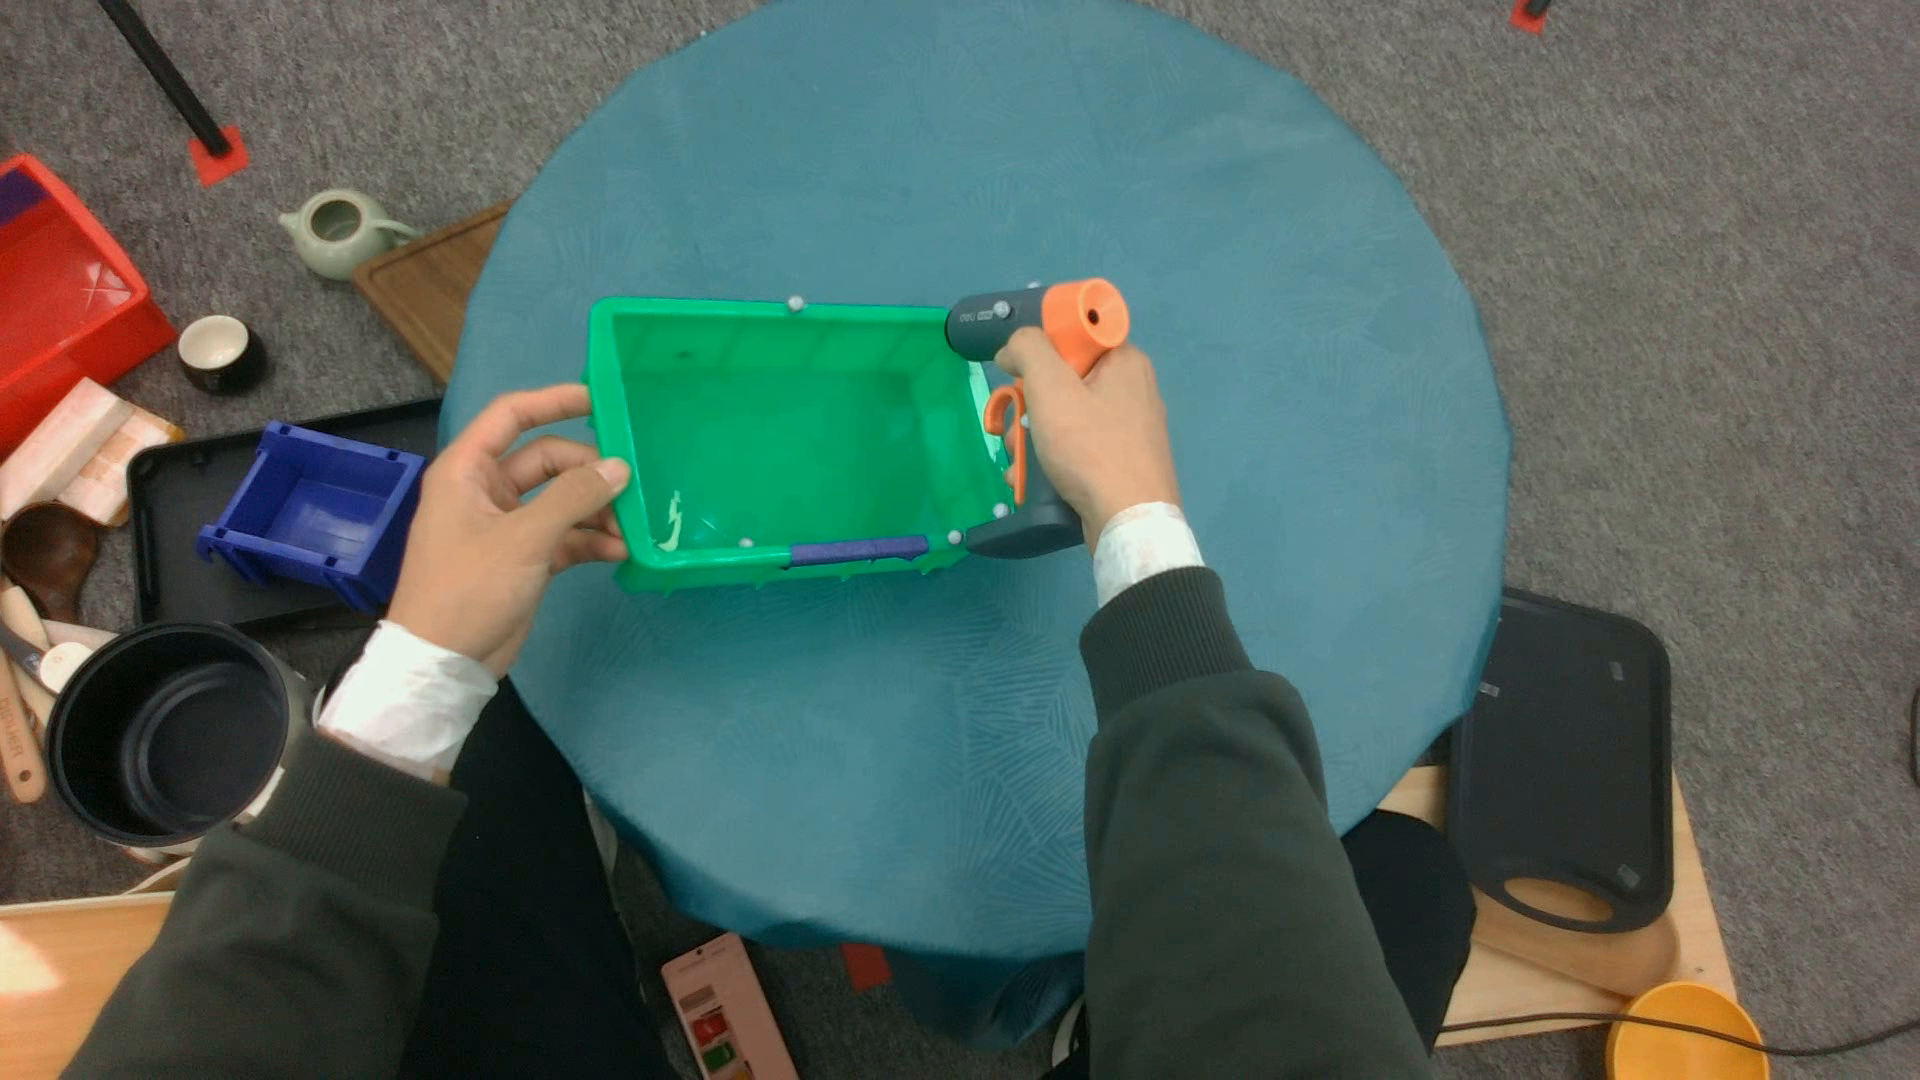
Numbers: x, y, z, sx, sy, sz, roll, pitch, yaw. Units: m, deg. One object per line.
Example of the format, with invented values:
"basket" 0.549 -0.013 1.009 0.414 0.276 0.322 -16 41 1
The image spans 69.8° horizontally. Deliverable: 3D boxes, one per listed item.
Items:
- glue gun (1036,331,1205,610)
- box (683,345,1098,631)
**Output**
"glue gun" 0.073 -0.040 0.683 0.041 0.117 0.140 12 69 -28
"box" -0.039 -0.025 0.716 0.211 0.065 0.139 -2 69 -28
